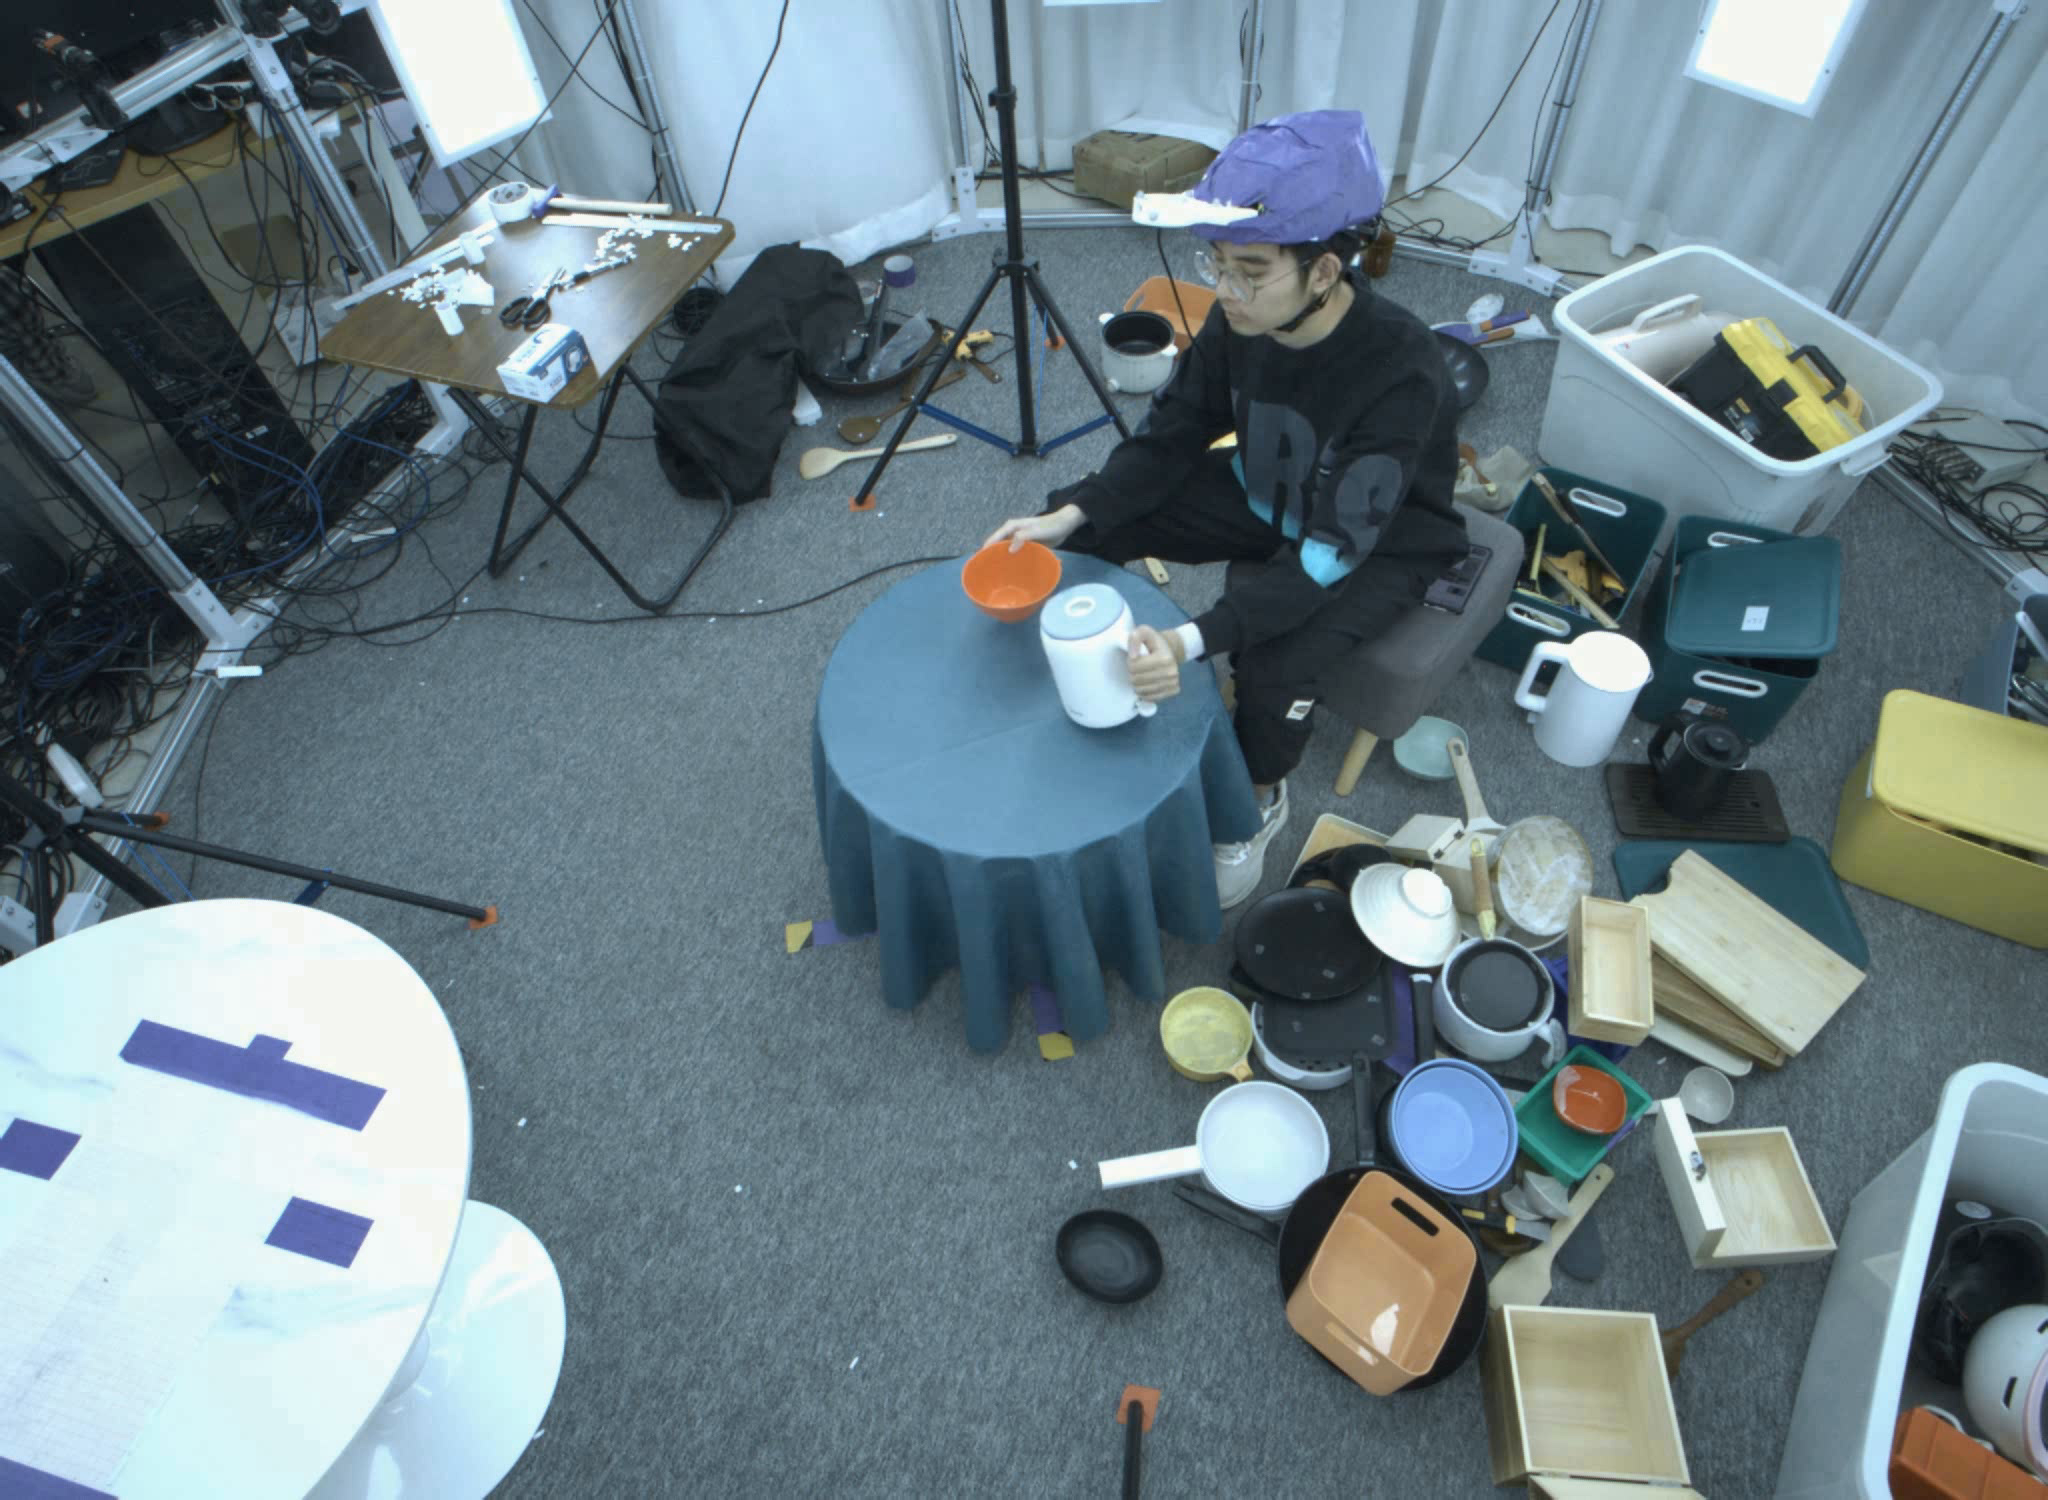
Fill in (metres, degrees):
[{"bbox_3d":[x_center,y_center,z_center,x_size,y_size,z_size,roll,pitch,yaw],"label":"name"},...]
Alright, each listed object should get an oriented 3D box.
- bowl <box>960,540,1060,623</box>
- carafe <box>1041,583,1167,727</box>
[{"bbox_3d":[-0.021,-0.239,1.845,0.148,0.105,0.146,1,60,0],"label":"bowl"},{"bbox_3d":[0.119,-0.125,1.733,0.187,0.185,0.133,27,61,35],"label":"carafe"}]
